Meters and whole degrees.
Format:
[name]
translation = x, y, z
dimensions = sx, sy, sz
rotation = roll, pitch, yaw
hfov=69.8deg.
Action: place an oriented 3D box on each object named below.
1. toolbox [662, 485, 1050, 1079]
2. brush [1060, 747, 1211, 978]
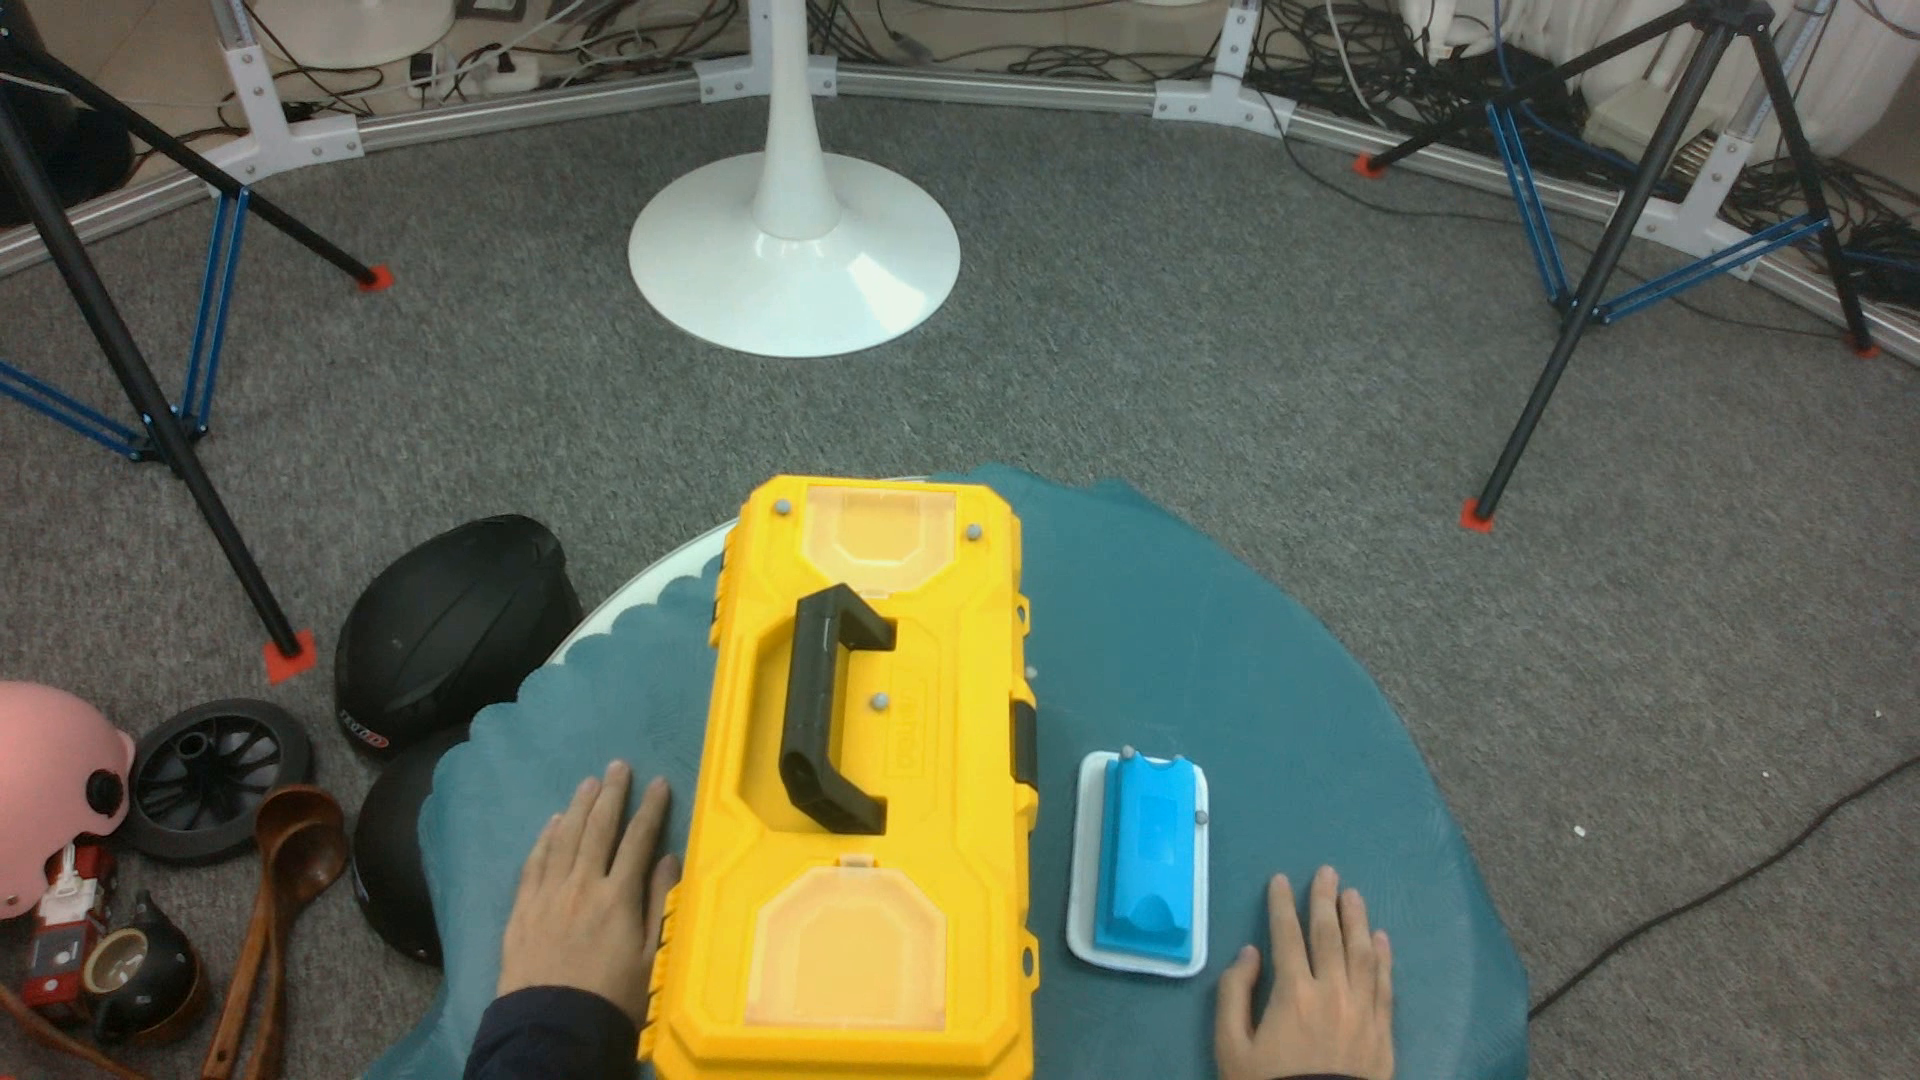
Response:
[toolbox]
translation = -0.052, 0.145, 0.750
dimensions = 0.181, 0.172, 0.353
rotation = 2, 49, -3
[brush]
translation = 0.106, 0.180, 0.807
dimensions = 0.084, 0.055, 0.144
rotation = 7, 47, 6
